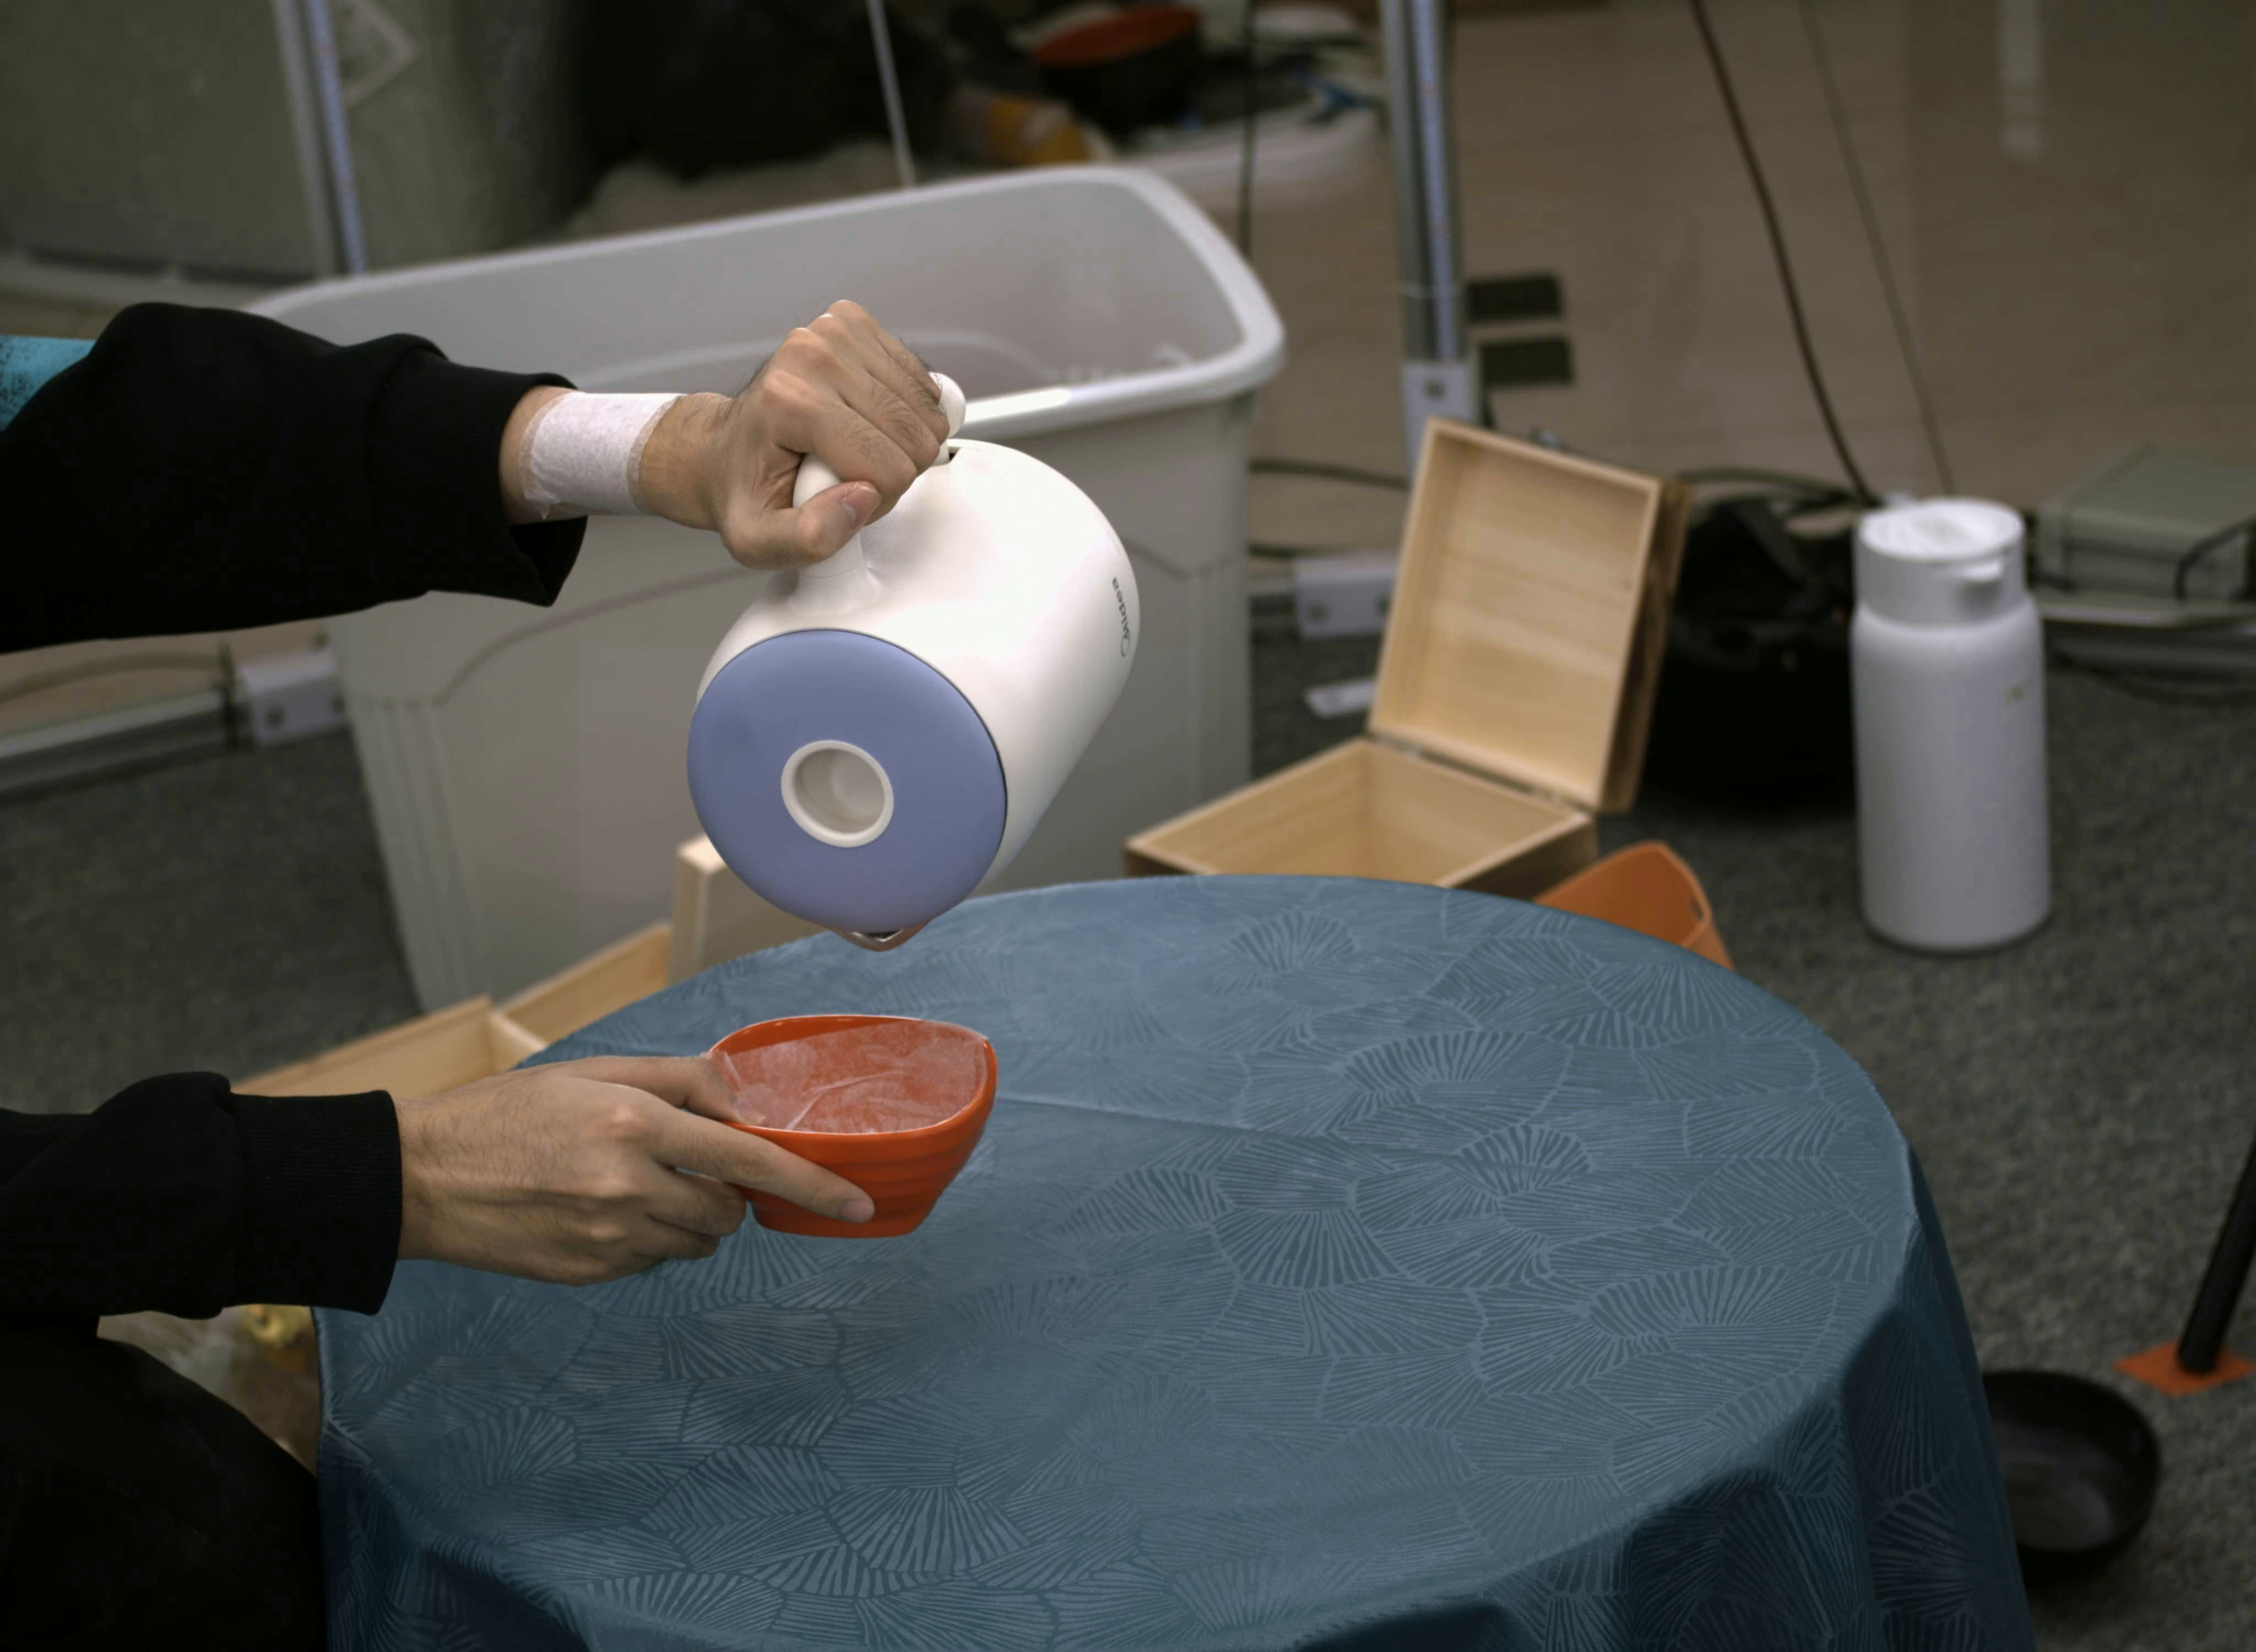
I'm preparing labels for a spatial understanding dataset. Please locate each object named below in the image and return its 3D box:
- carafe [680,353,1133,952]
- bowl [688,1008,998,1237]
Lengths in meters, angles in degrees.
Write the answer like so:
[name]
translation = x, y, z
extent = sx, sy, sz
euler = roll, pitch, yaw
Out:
[carafe]
translation = -0.084, -0.074, 2.053
extent = 0.132, 0.194, 0.180
euler = -3, 24, 18
[bowl]
translation = -0.102, 0.110, 2.039
extent = 0.119, 0.052, 0.117
euler = 1, 23, 0
